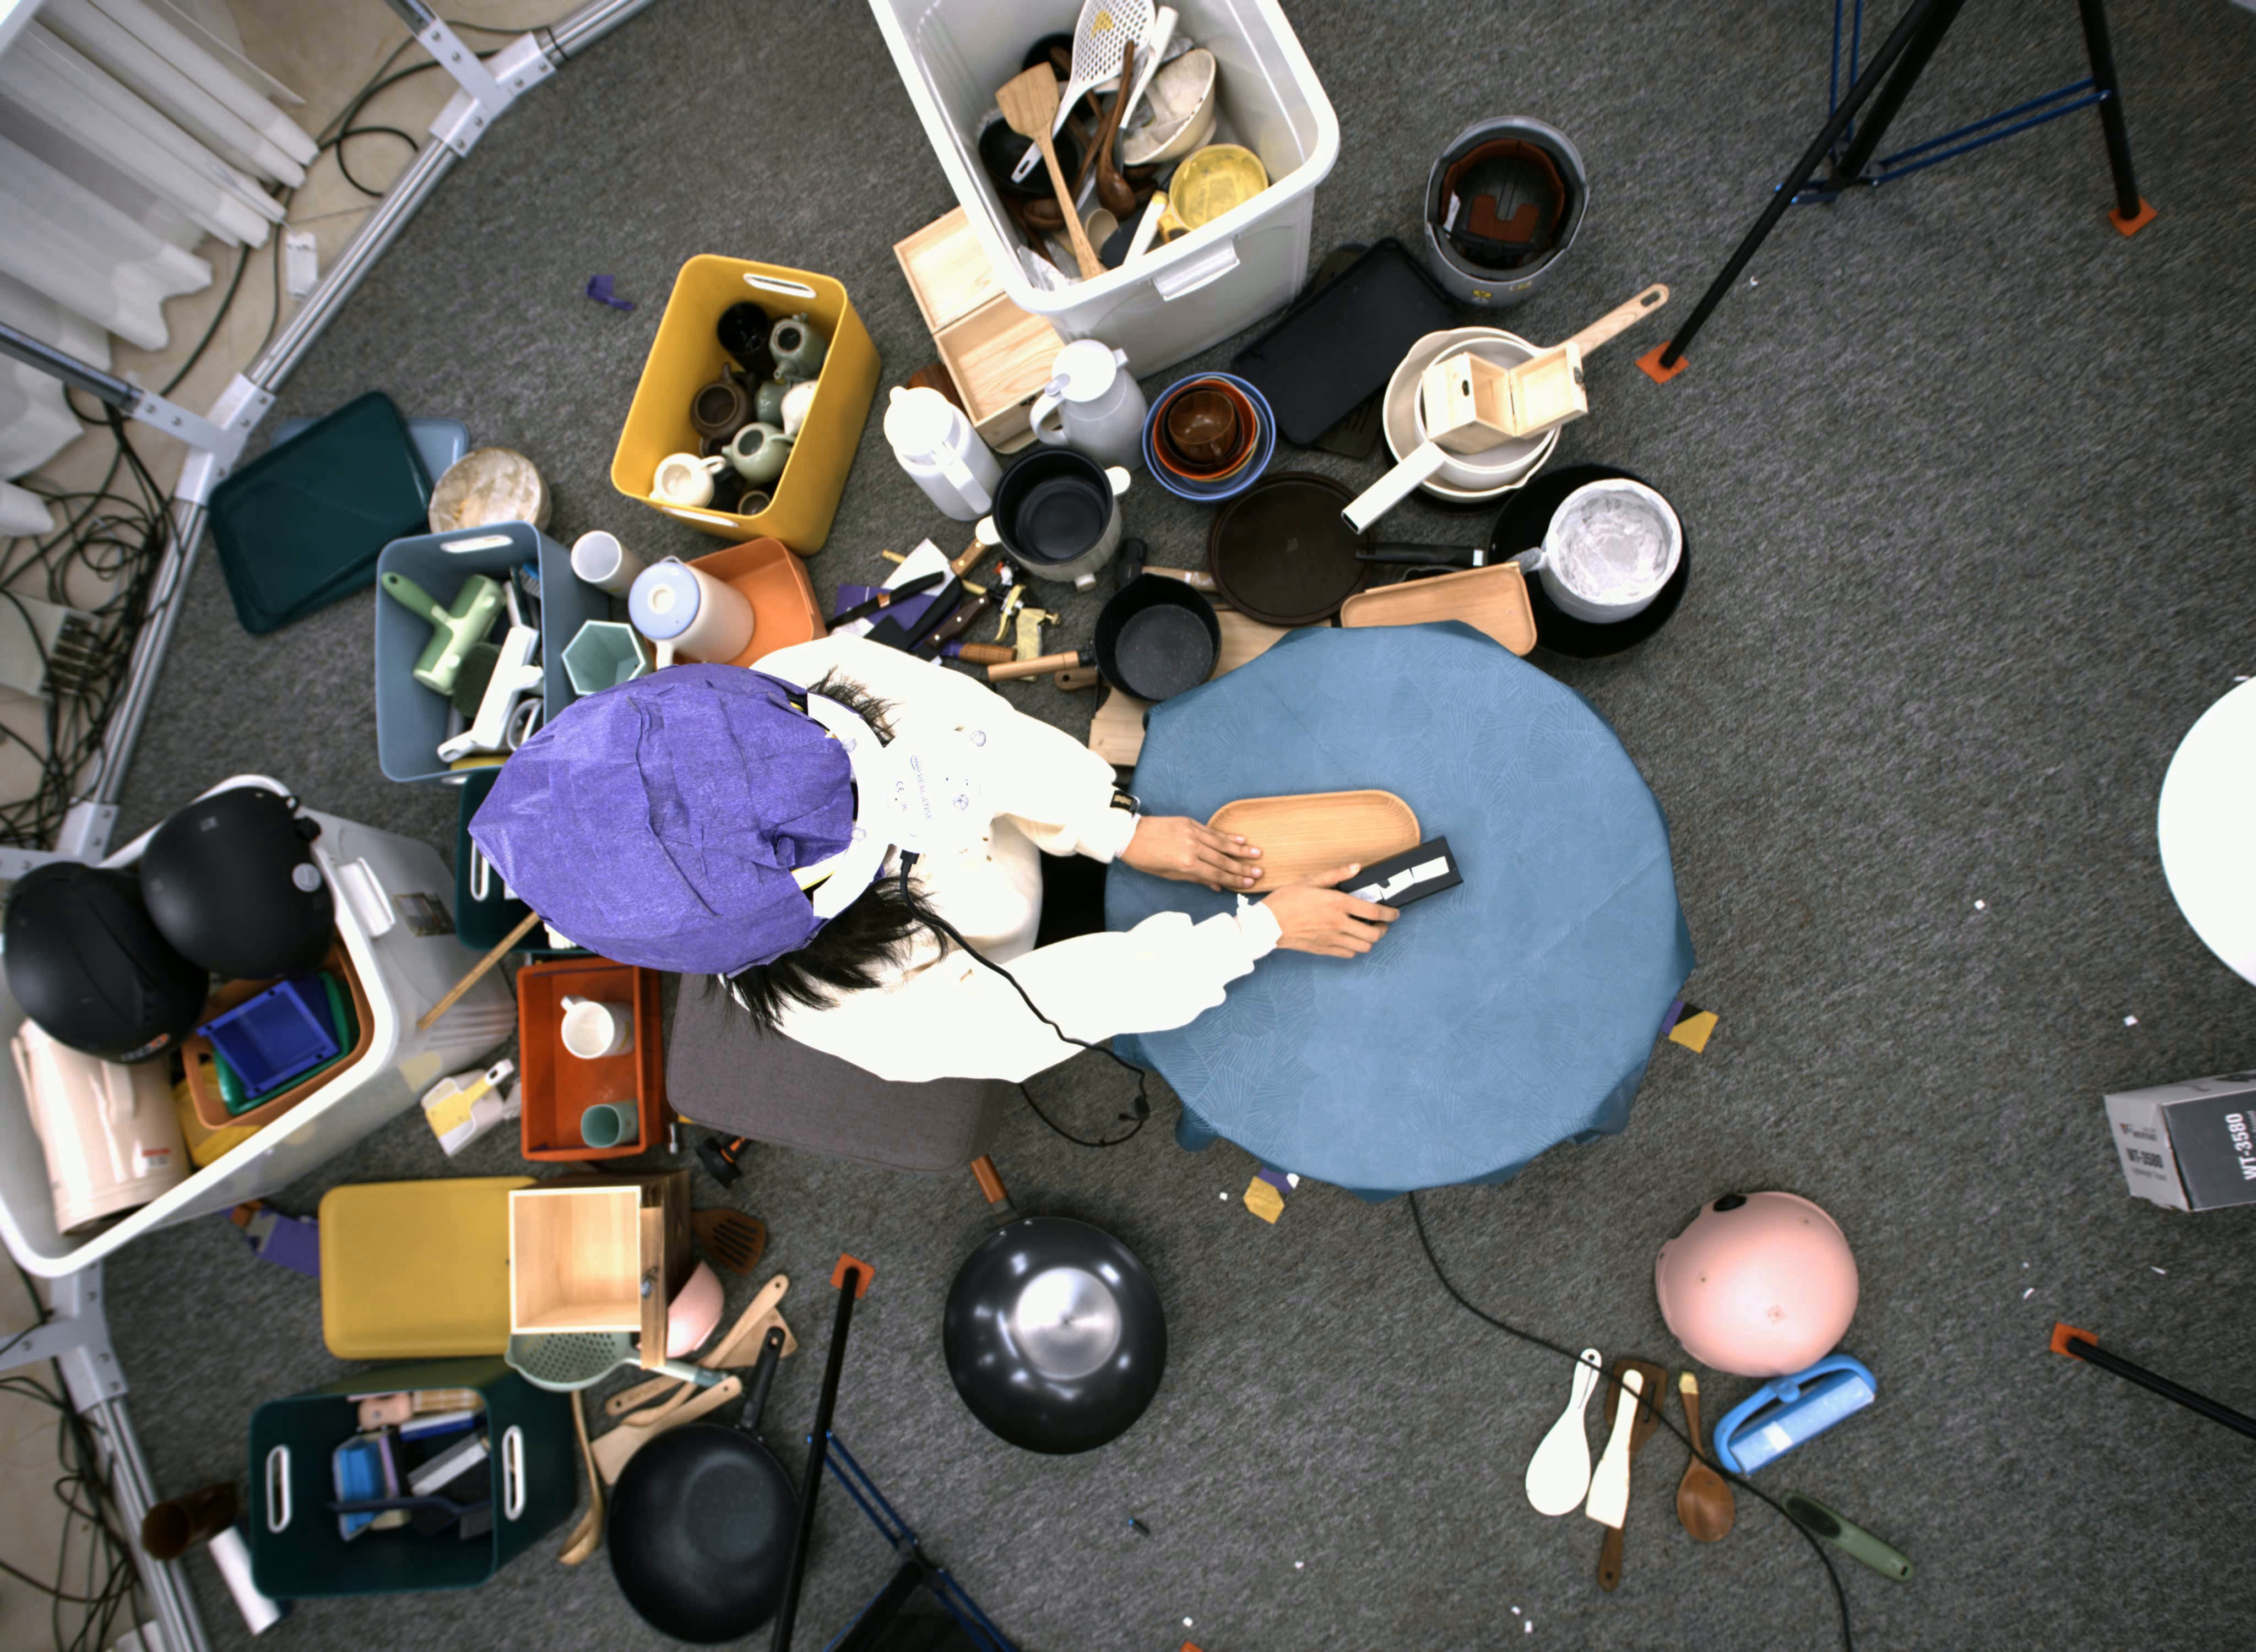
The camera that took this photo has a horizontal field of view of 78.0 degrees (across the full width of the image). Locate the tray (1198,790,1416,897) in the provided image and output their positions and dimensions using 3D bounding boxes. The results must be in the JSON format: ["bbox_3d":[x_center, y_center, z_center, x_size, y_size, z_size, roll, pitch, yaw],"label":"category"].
[{"bbox_3d":[0.189,0.018,1.470,0.232,0.020,0.101,-6,85,11],"label":"tray"}]

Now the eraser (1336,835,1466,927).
[{"bbox_3d":[0.282,0.055,1.431,0.126,0.030,0.053,-23,86,7],"label":"eraser"}]
